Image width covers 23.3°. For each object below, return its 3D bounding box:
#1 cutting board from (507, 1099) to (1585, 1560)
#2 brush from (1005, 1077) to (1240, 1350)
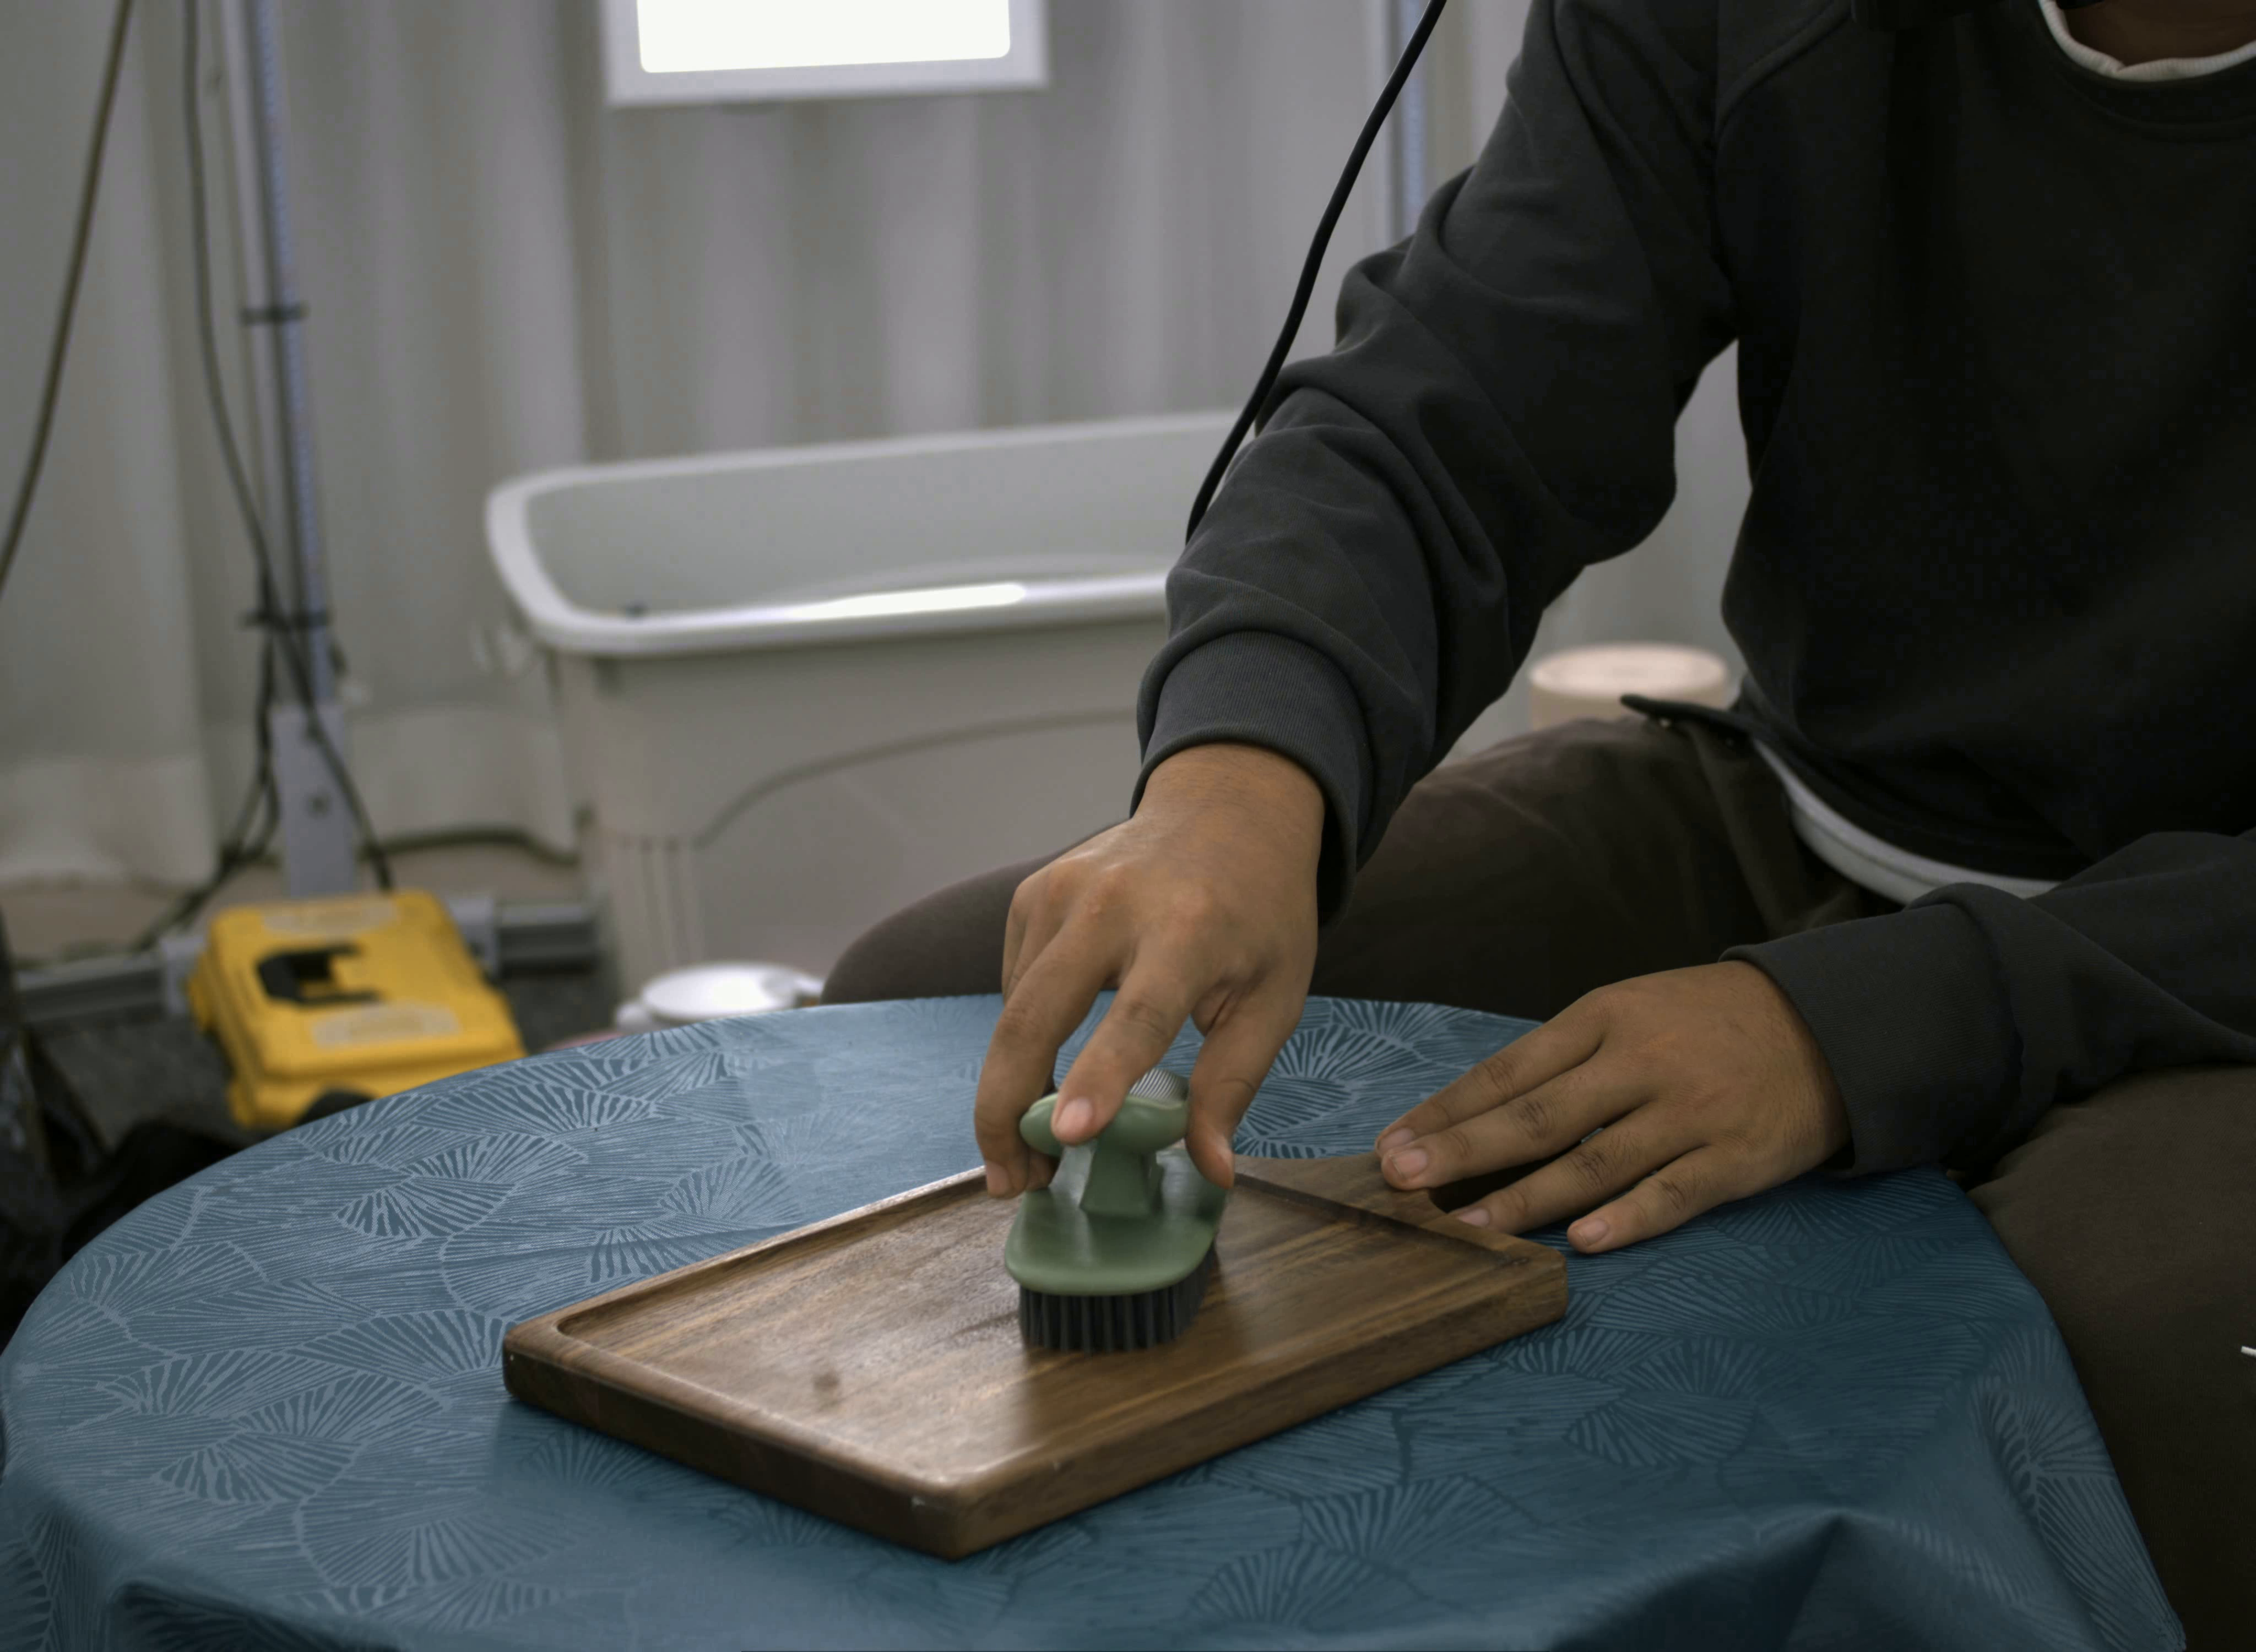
[{"bbox_3d":[0.012,0.133,1.606,0.351,0.023,0.202,-16,20,-41],"label":"cutting board"},{"bbox_3d":[-0.001,0.110,1.583,0.059,0.076,0.122,2,-1,10],"label":"brush"}]
